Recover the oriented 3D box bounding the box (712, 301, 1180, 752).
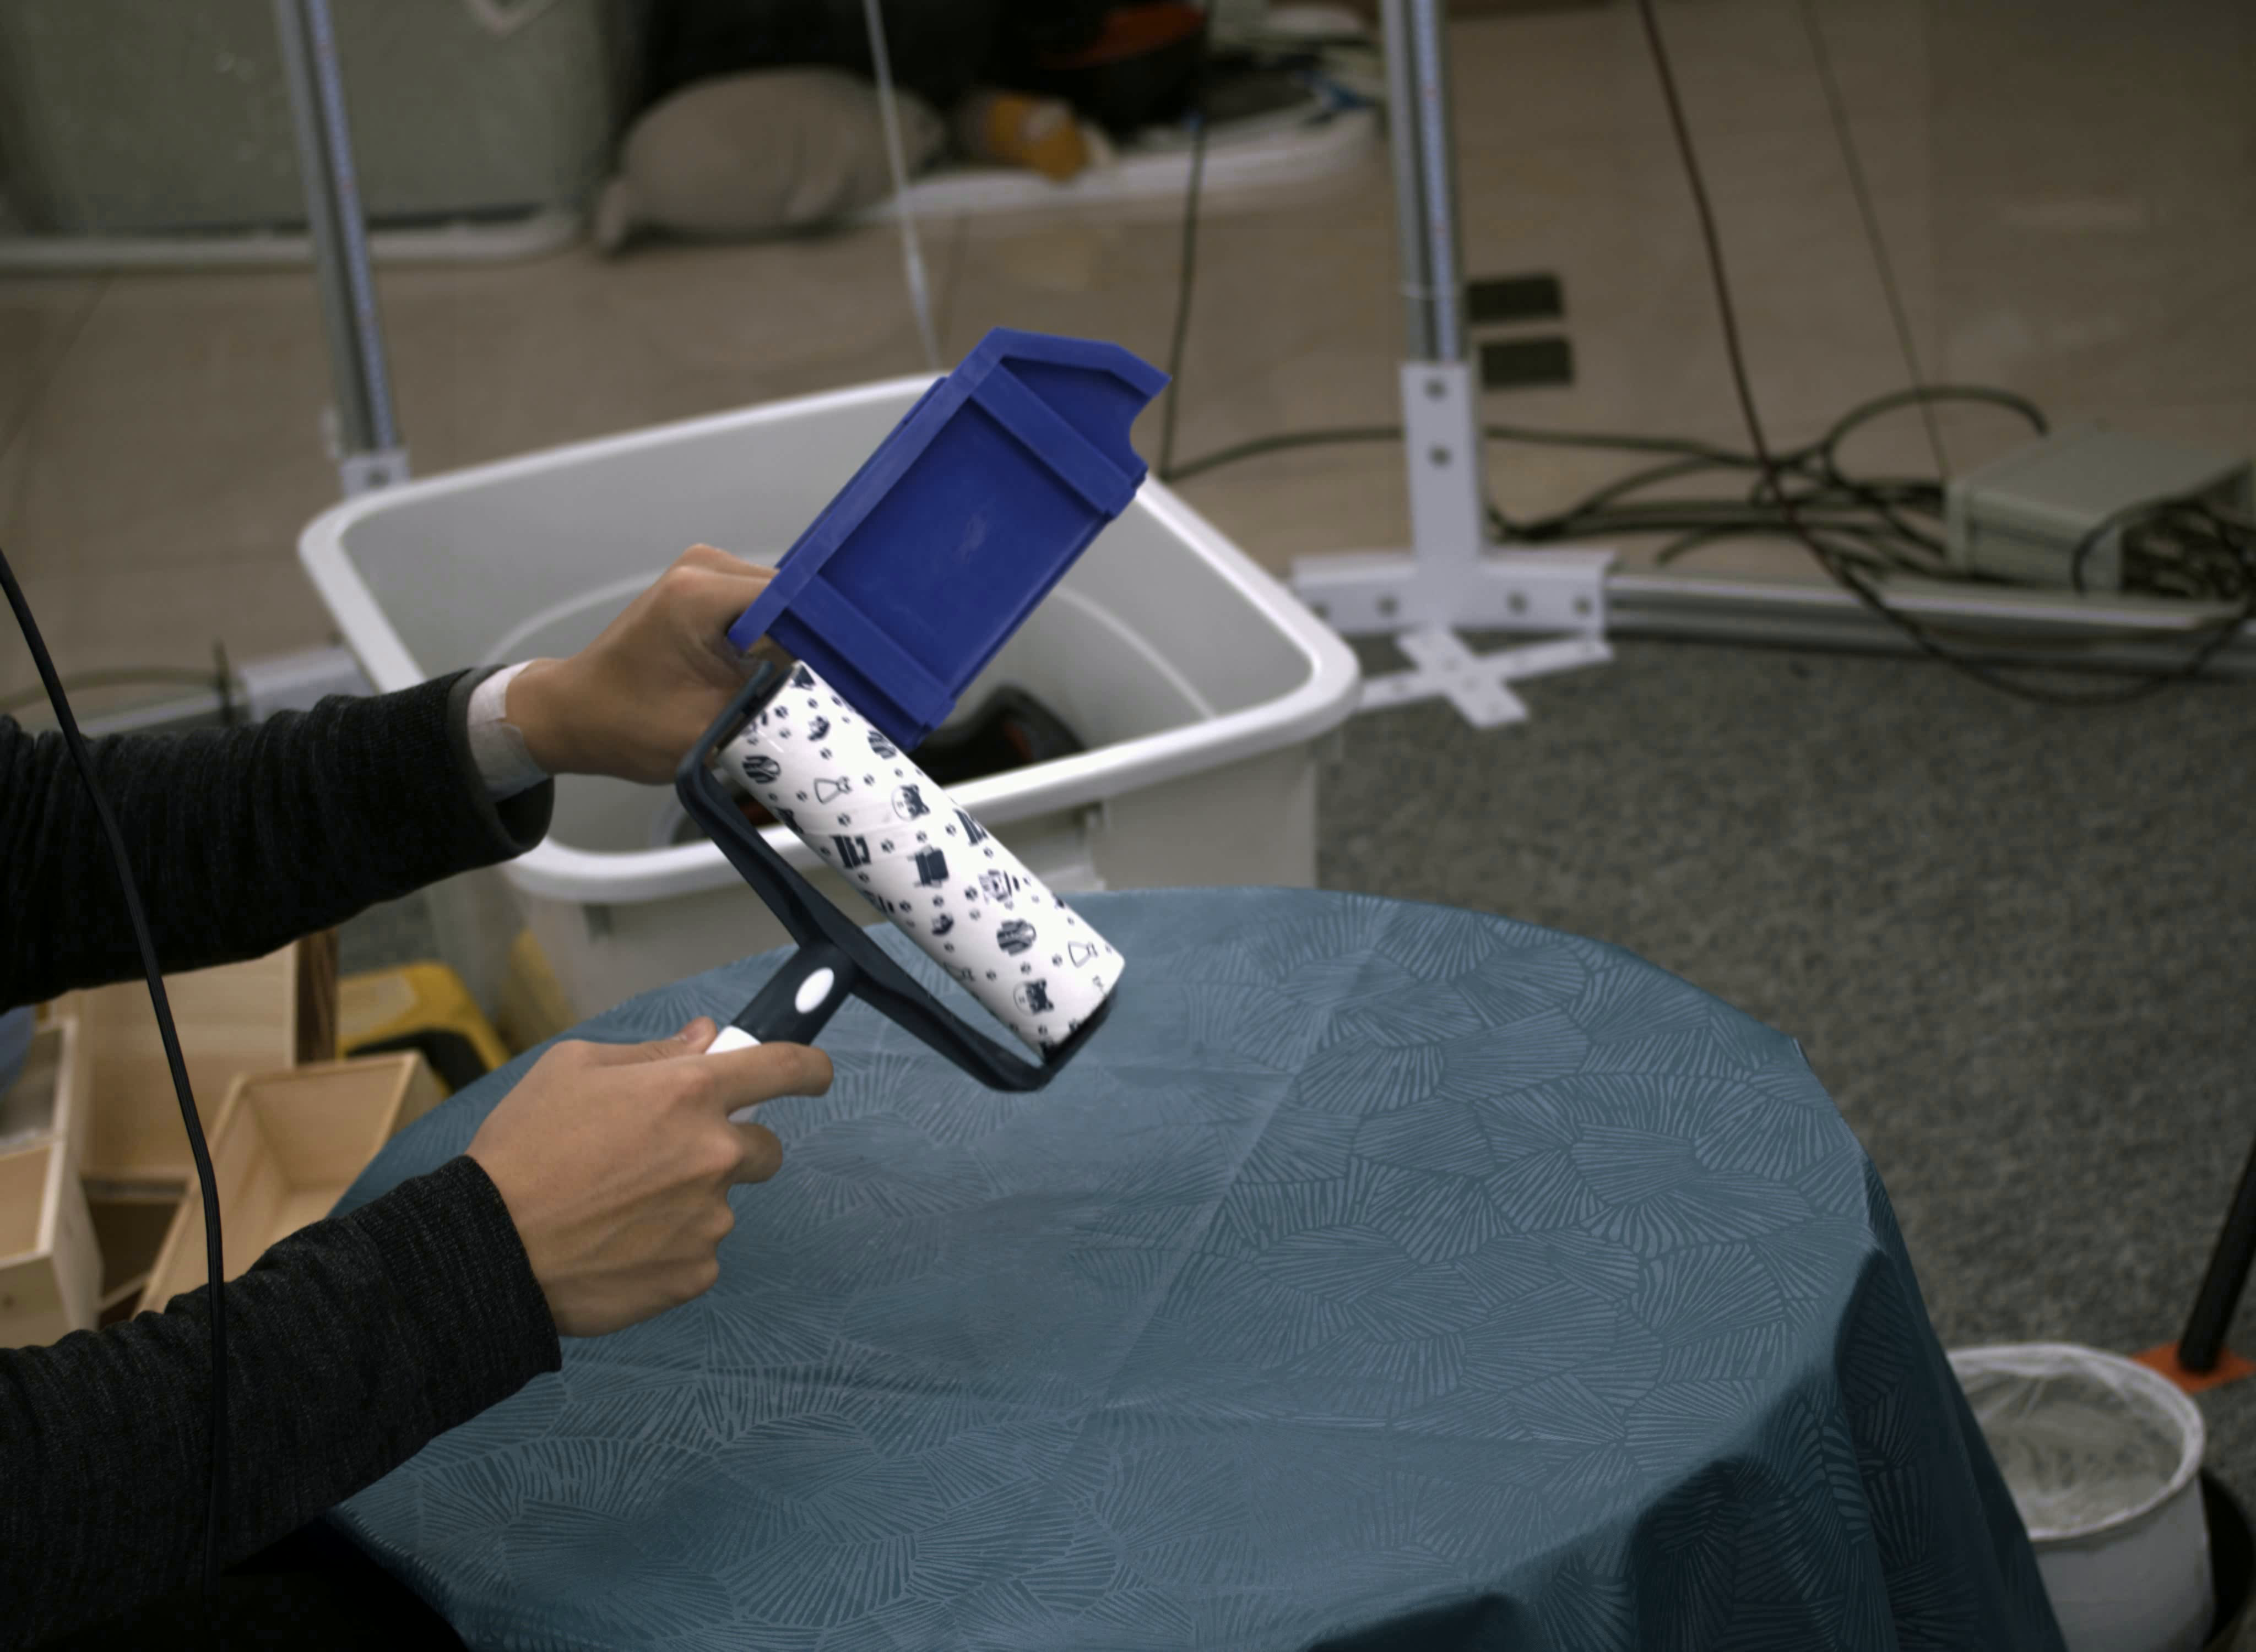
[{"bbox_3d":[-0.063,-0.116,2.109,0.178,0.082,0.125,-53,6,-10],"label":"box"}]

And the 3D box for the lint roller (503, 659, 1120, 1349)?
[{"bbox_3d":[-0.134,0.084,1.985,0.245,0.177,0.050,-52,13,-19],"label":"lint roller"}]
